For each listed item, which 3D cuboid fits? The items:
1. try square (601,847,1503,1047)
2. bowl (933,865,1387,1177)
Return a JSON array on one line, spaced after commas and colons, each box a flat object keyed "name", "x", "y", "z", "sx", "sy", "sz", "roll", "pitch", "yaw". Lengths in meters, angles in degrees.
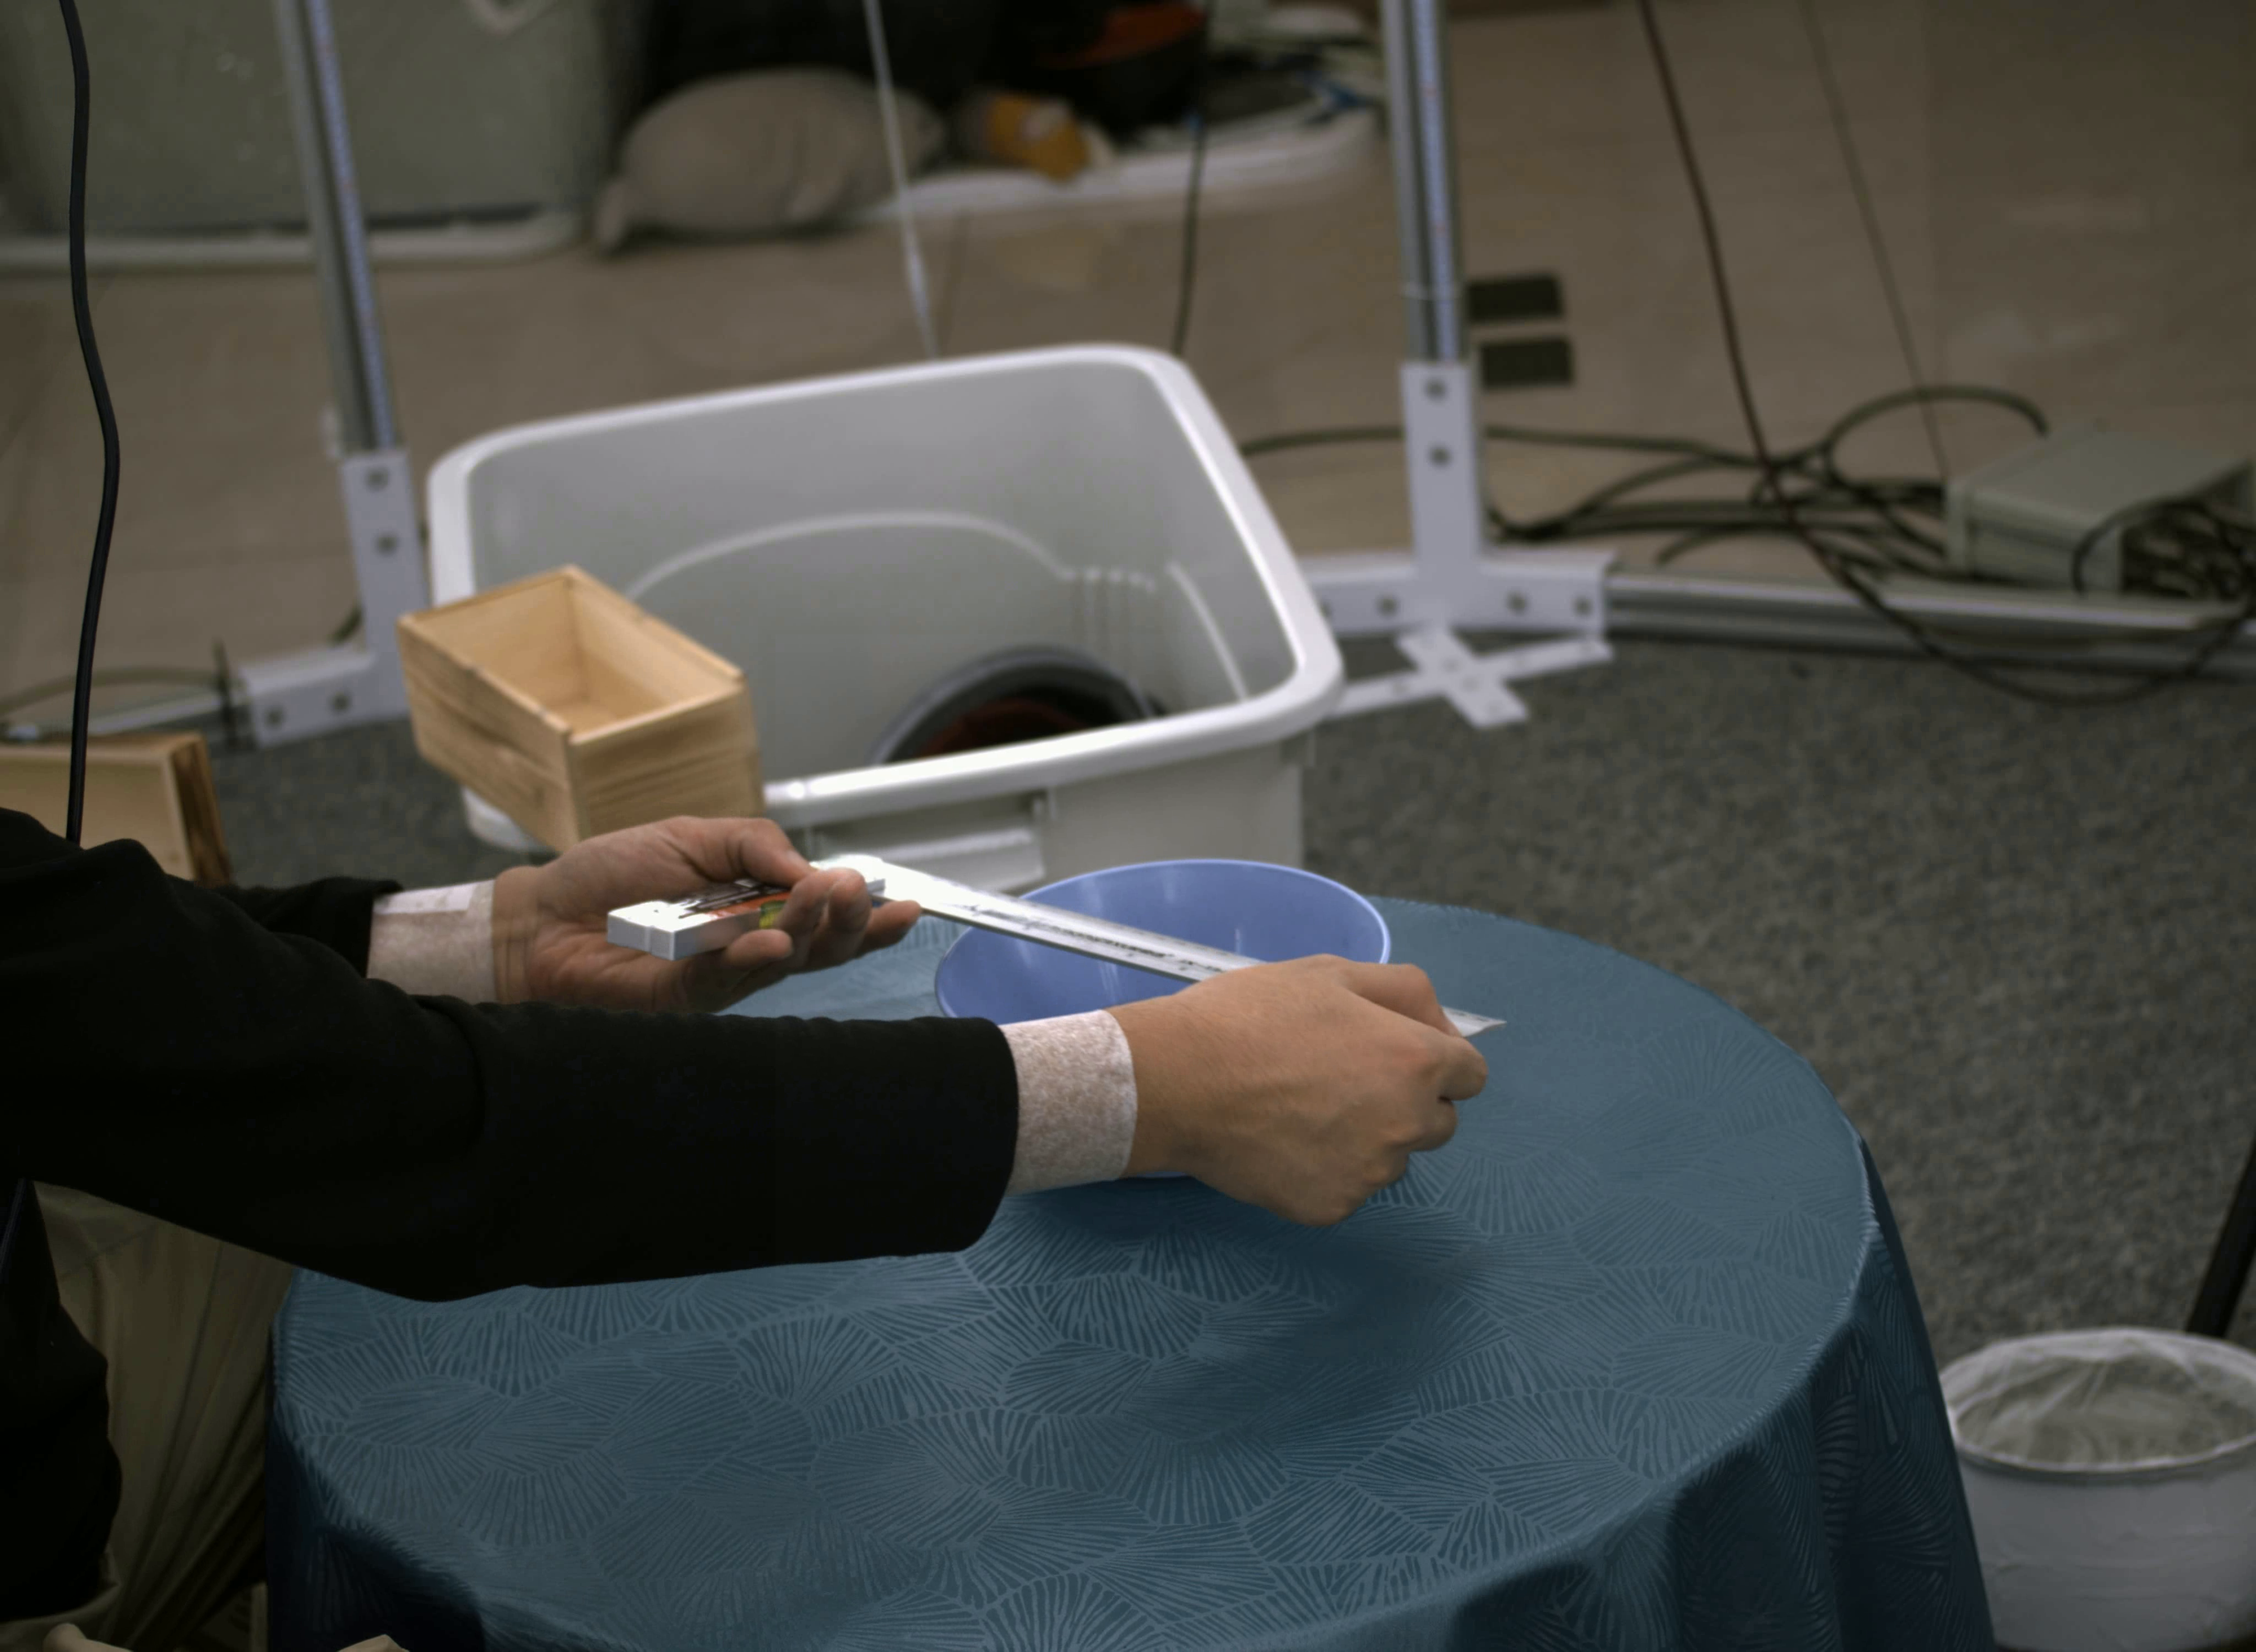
[{"name": "try square", "x": -0.032, "y": 0.056, "z": 2.094, "sx": 0.311, "sy": 0.016, "sz": 0.151, "roll": 14, "pitch": 21, "yaw": 37}, {"name": "bowl", "x": 0.015, "y": 0.080, "z": 2.187, "sx": 0.176, "sy": 0.071, "sz": 0.173, "roll": -5, "pitch": 25, "yaw": 2}]
